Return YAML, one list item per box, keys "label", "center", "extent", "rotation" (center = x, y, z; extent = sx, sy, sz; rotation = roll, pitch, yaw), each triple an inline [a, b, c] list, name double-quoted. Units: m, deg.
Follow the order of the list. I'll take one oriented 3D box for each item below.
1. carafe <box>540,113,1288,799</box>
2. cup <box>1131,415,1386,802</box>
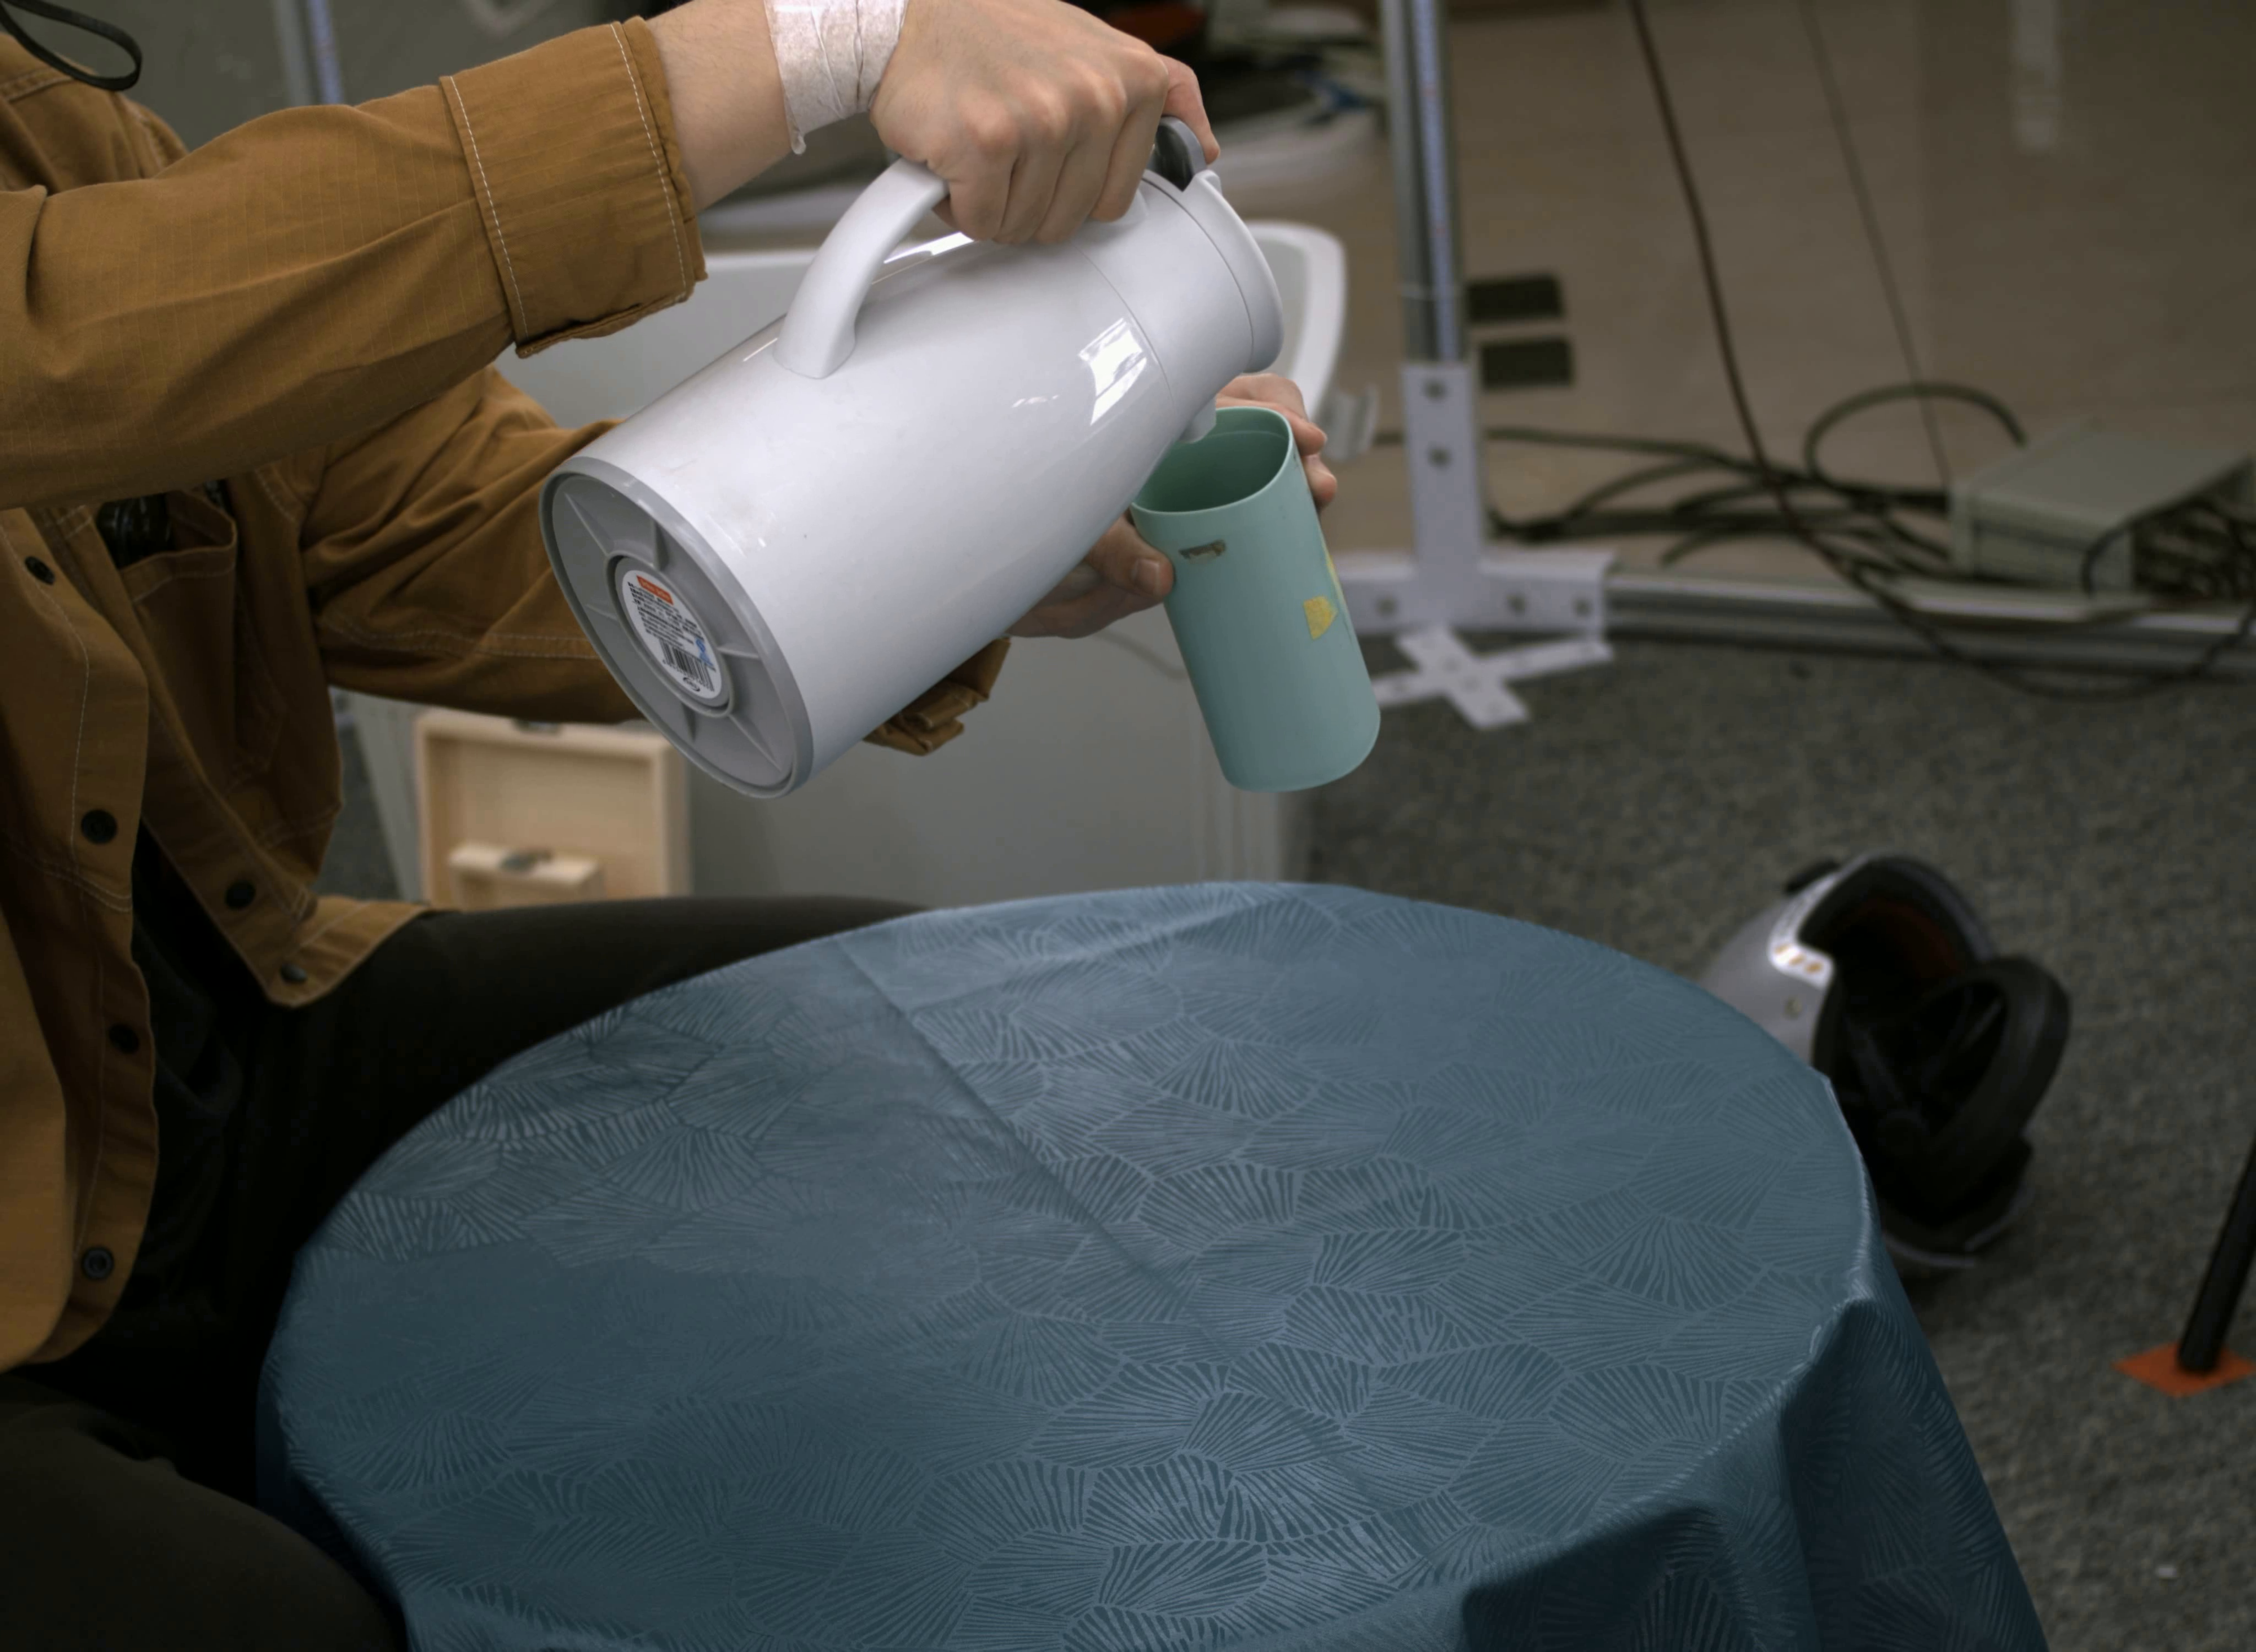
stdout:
- label: "carafe"
  center: [-0.064, -0.144, 1.897]
  extent: [0.246, 0.171, 0.131]
  rotation: [-37, 49, -21]
- label: "cup"
  center: [0.047, -0.078, 2.046]
  extent: [0.067, 0.135, 0.065]
  rotation: [-12, 38, 10]
